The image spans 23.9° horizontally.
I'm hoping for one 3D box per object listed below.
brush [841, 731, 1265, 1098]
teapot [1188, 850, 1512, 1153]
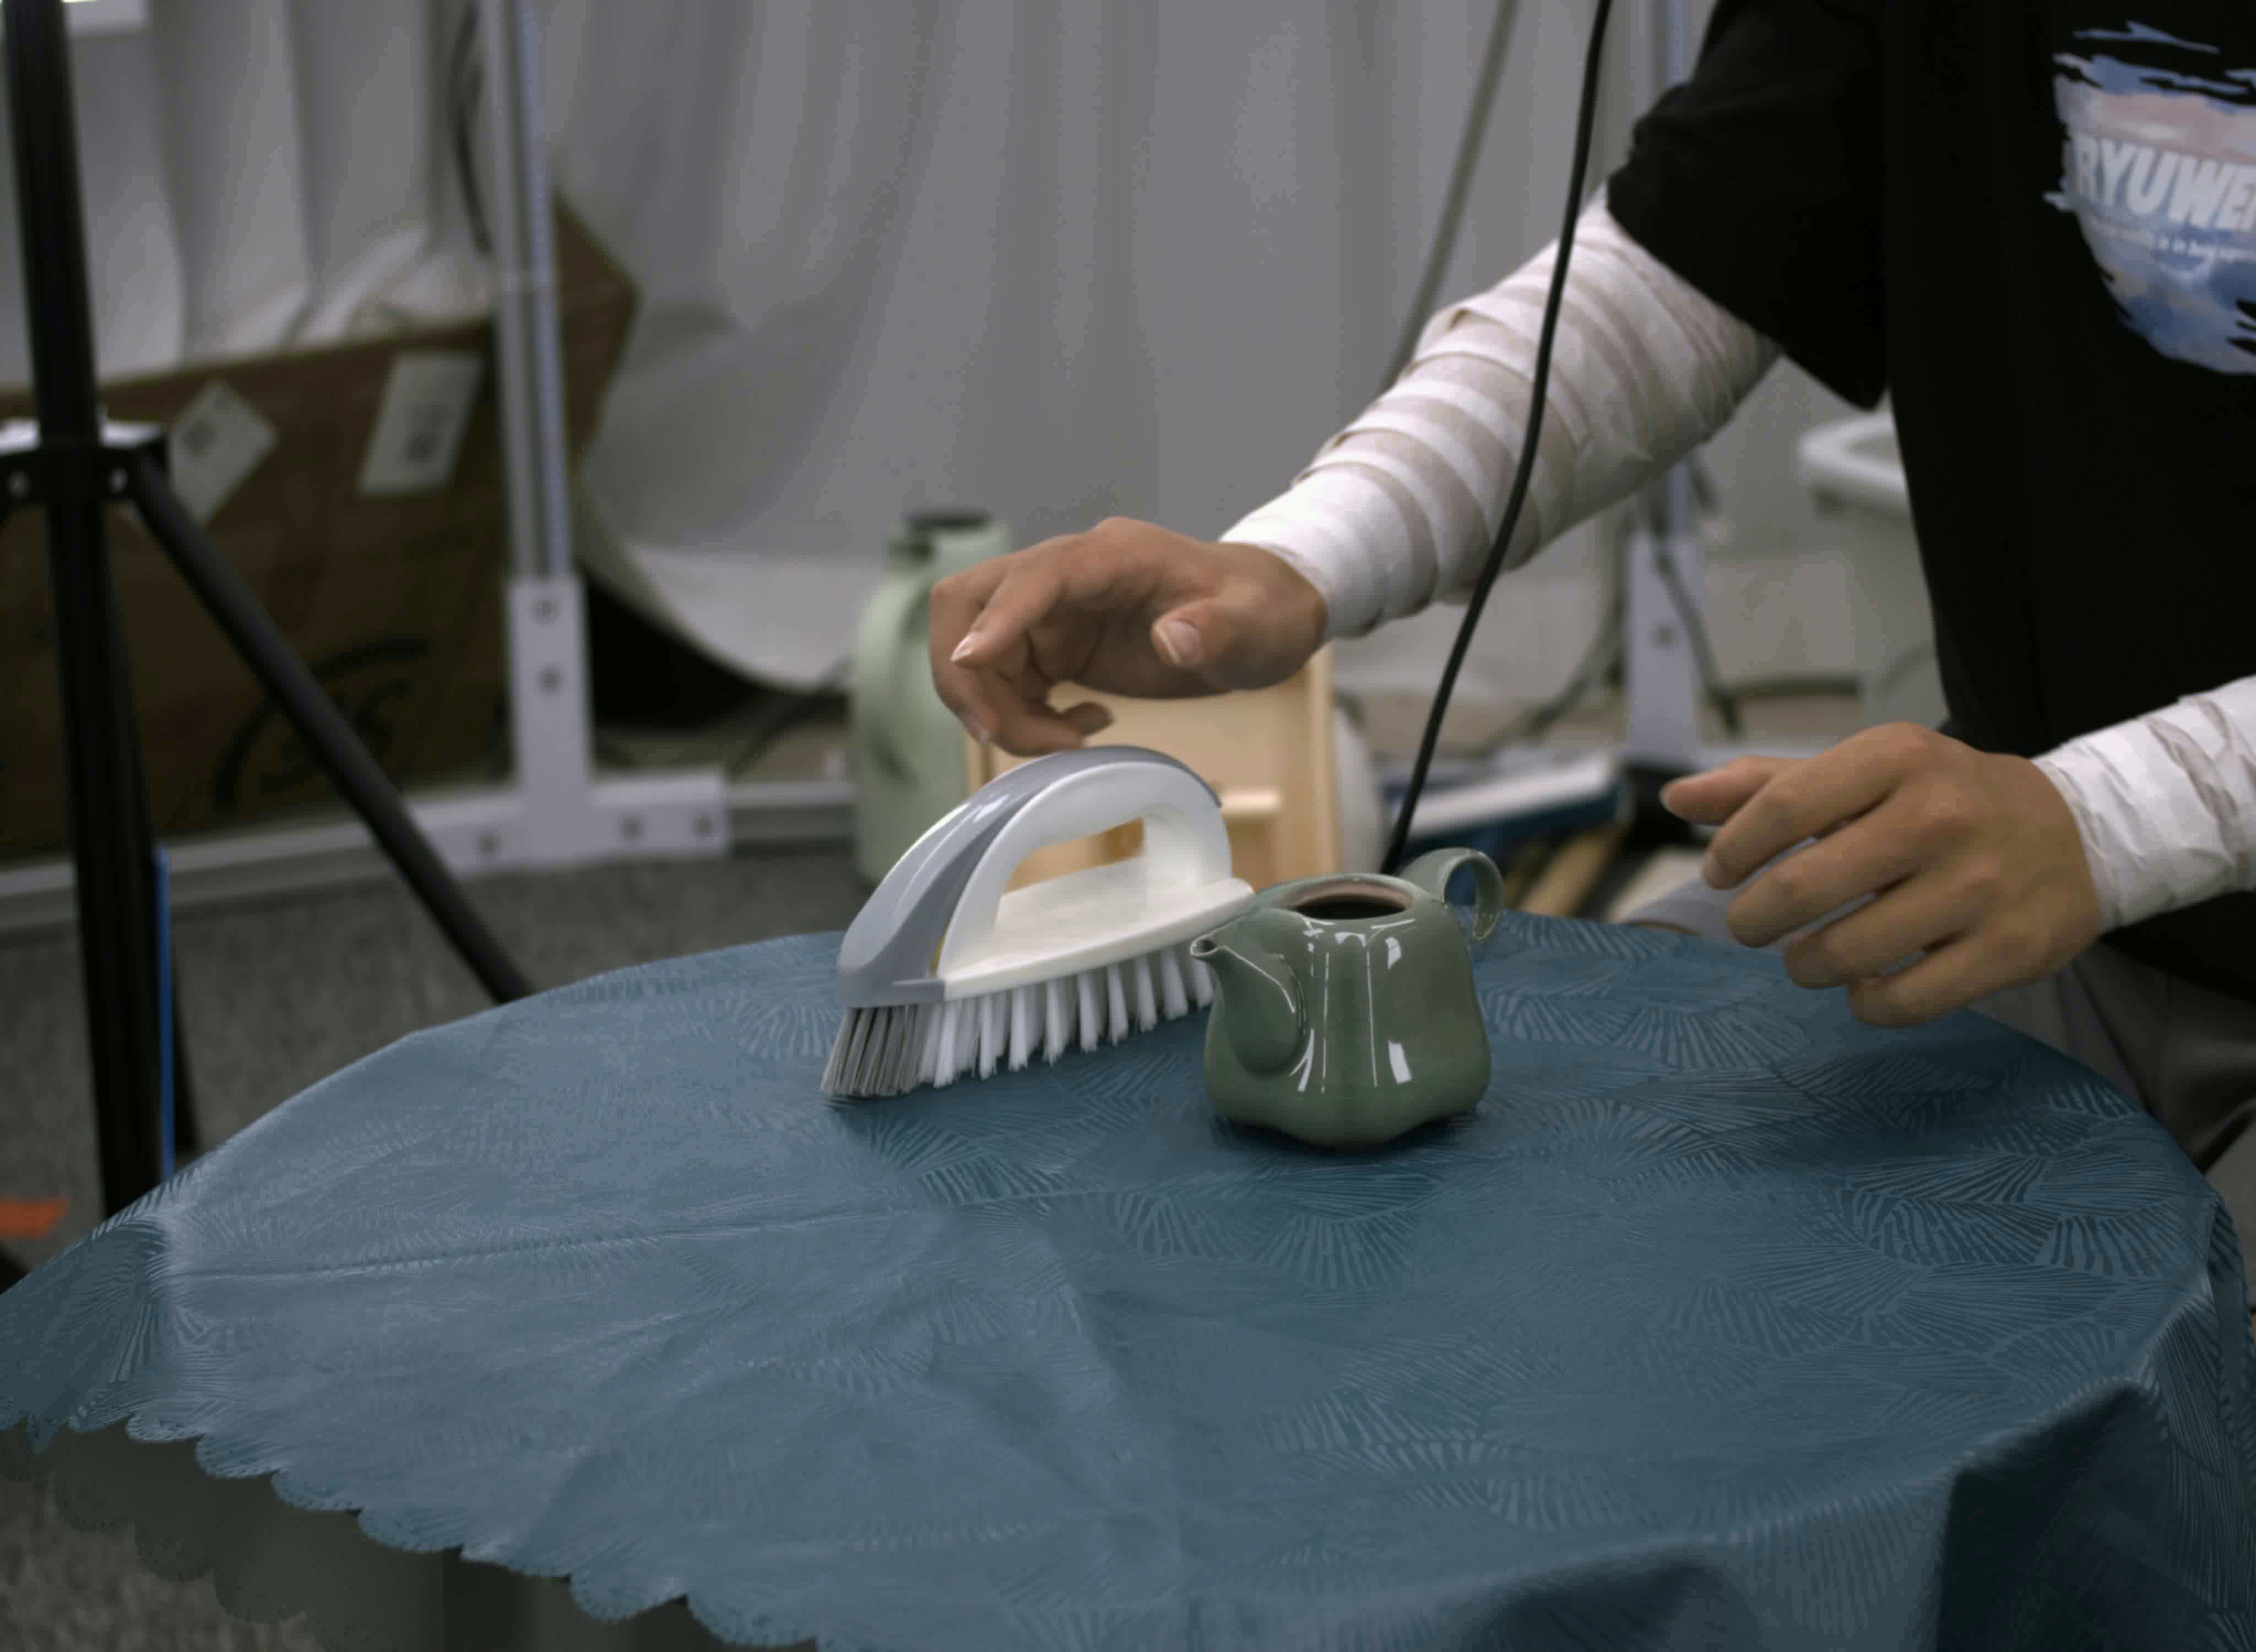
[{"bbox_3d":[-0.029,0.025,1.691,0.171,0.094,0.063,-19,18,-40],"label":"brush"},{"bbox_3d":[0.067,0.054,1.608,0.129,0.075,0.081,-14,20,-40],"label":"teapot"}]
